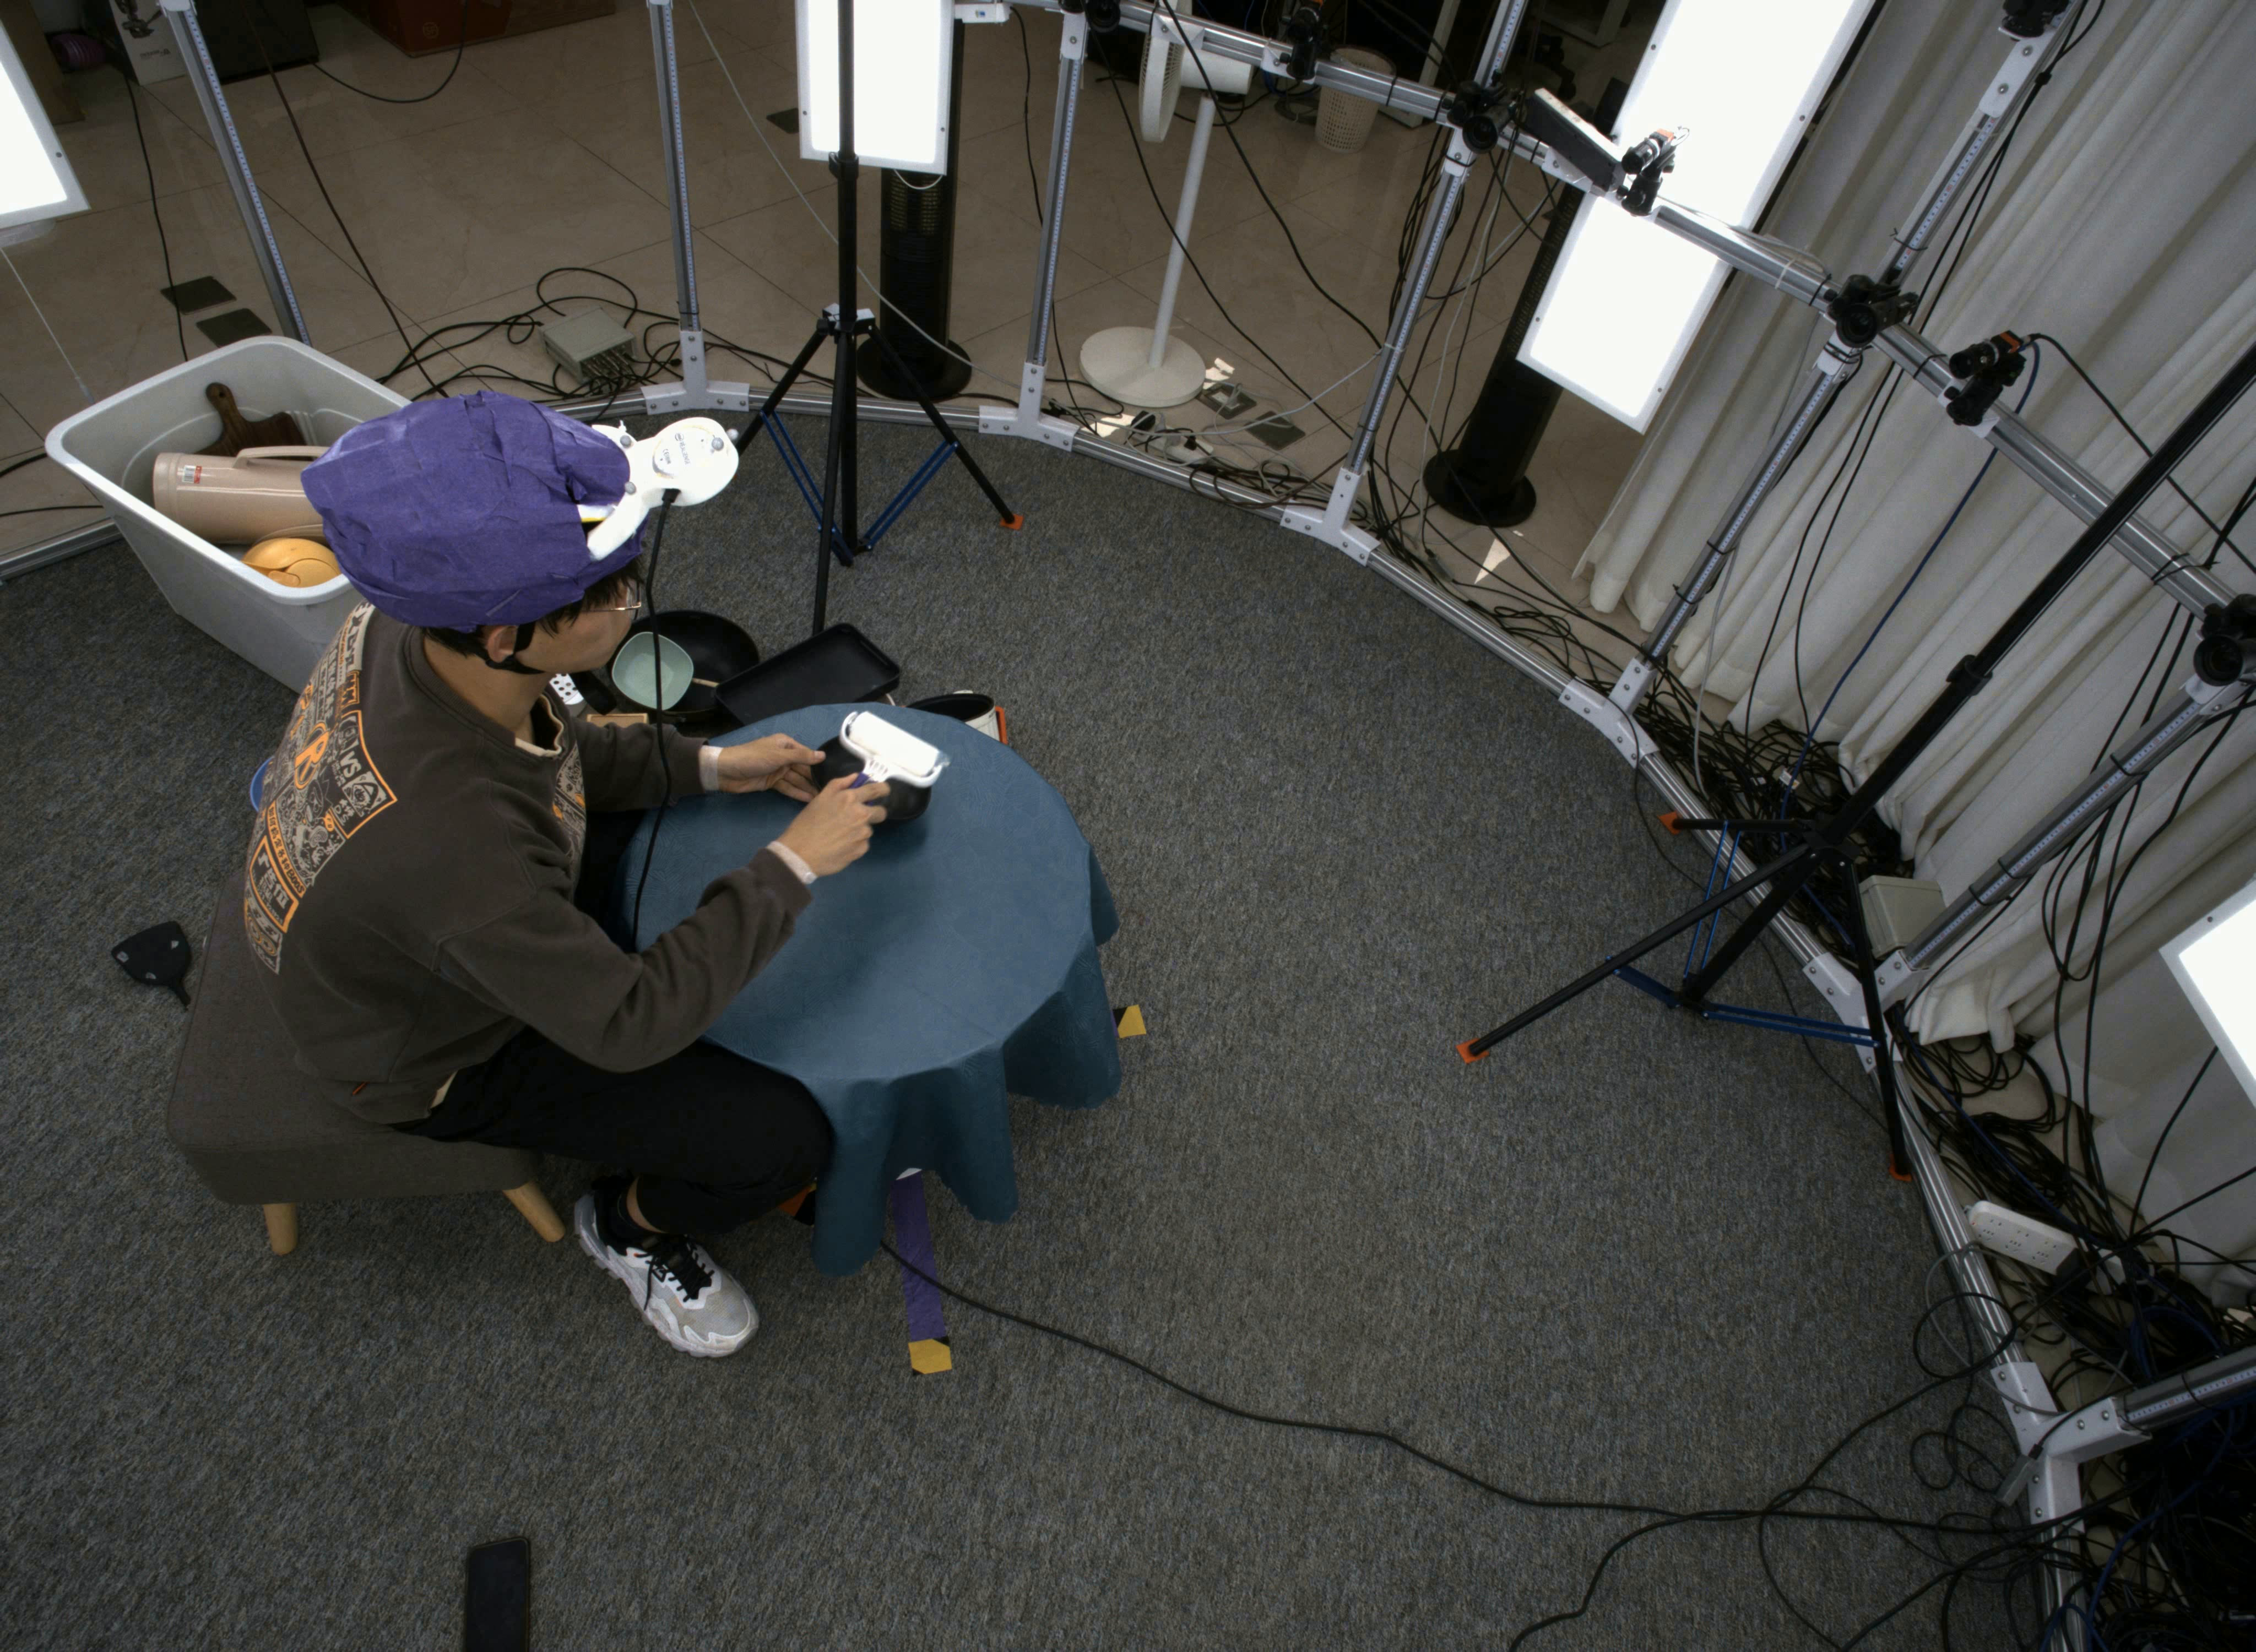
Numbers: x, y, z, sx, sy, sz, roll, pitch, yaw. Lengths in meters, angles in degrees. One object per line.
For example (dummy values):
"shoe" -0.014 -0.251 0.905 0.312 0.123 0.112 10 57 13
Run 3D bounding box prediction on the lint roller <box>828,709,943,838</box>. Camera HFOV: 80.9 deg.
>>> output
"lint roller" -0.312 -0.060 1.561 0.133 0.051 0.179 30 44 -3

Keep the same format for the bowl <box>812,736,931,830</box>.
"bowl" -0.345 -0.052 1.755 0.168 0.068 0.136 28 54 6
